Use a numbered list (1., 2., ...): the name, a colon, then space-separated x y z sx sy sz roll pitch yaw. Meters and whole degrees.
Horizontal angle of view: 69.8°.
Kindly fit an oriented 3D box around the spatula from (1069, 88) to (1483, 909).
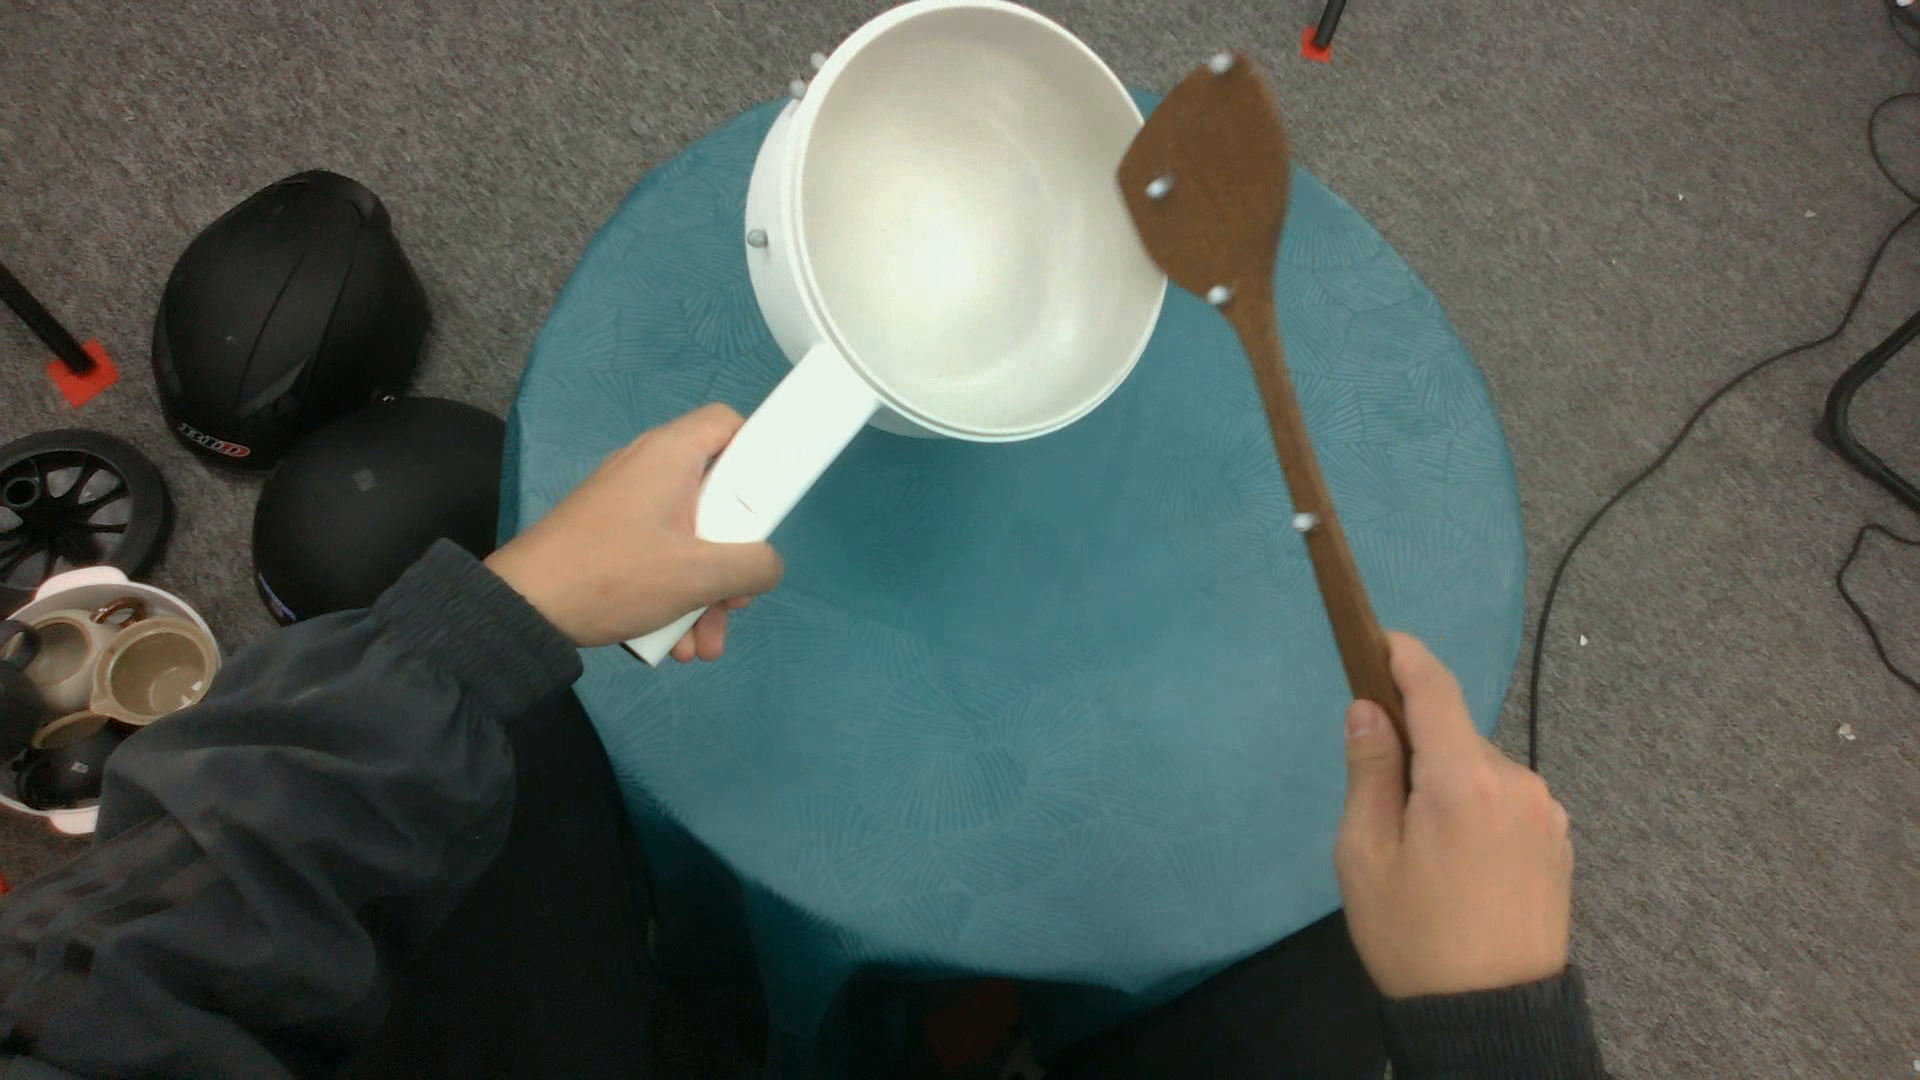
1. spatula: 0.136 -0.027 0.602 0.016 0.095 0.387 -6 66 -34

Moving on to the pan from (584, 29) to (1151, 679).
1. pan: -0.055 -0.085 0.676 0.201 0.102 0.356 44 74 -21
